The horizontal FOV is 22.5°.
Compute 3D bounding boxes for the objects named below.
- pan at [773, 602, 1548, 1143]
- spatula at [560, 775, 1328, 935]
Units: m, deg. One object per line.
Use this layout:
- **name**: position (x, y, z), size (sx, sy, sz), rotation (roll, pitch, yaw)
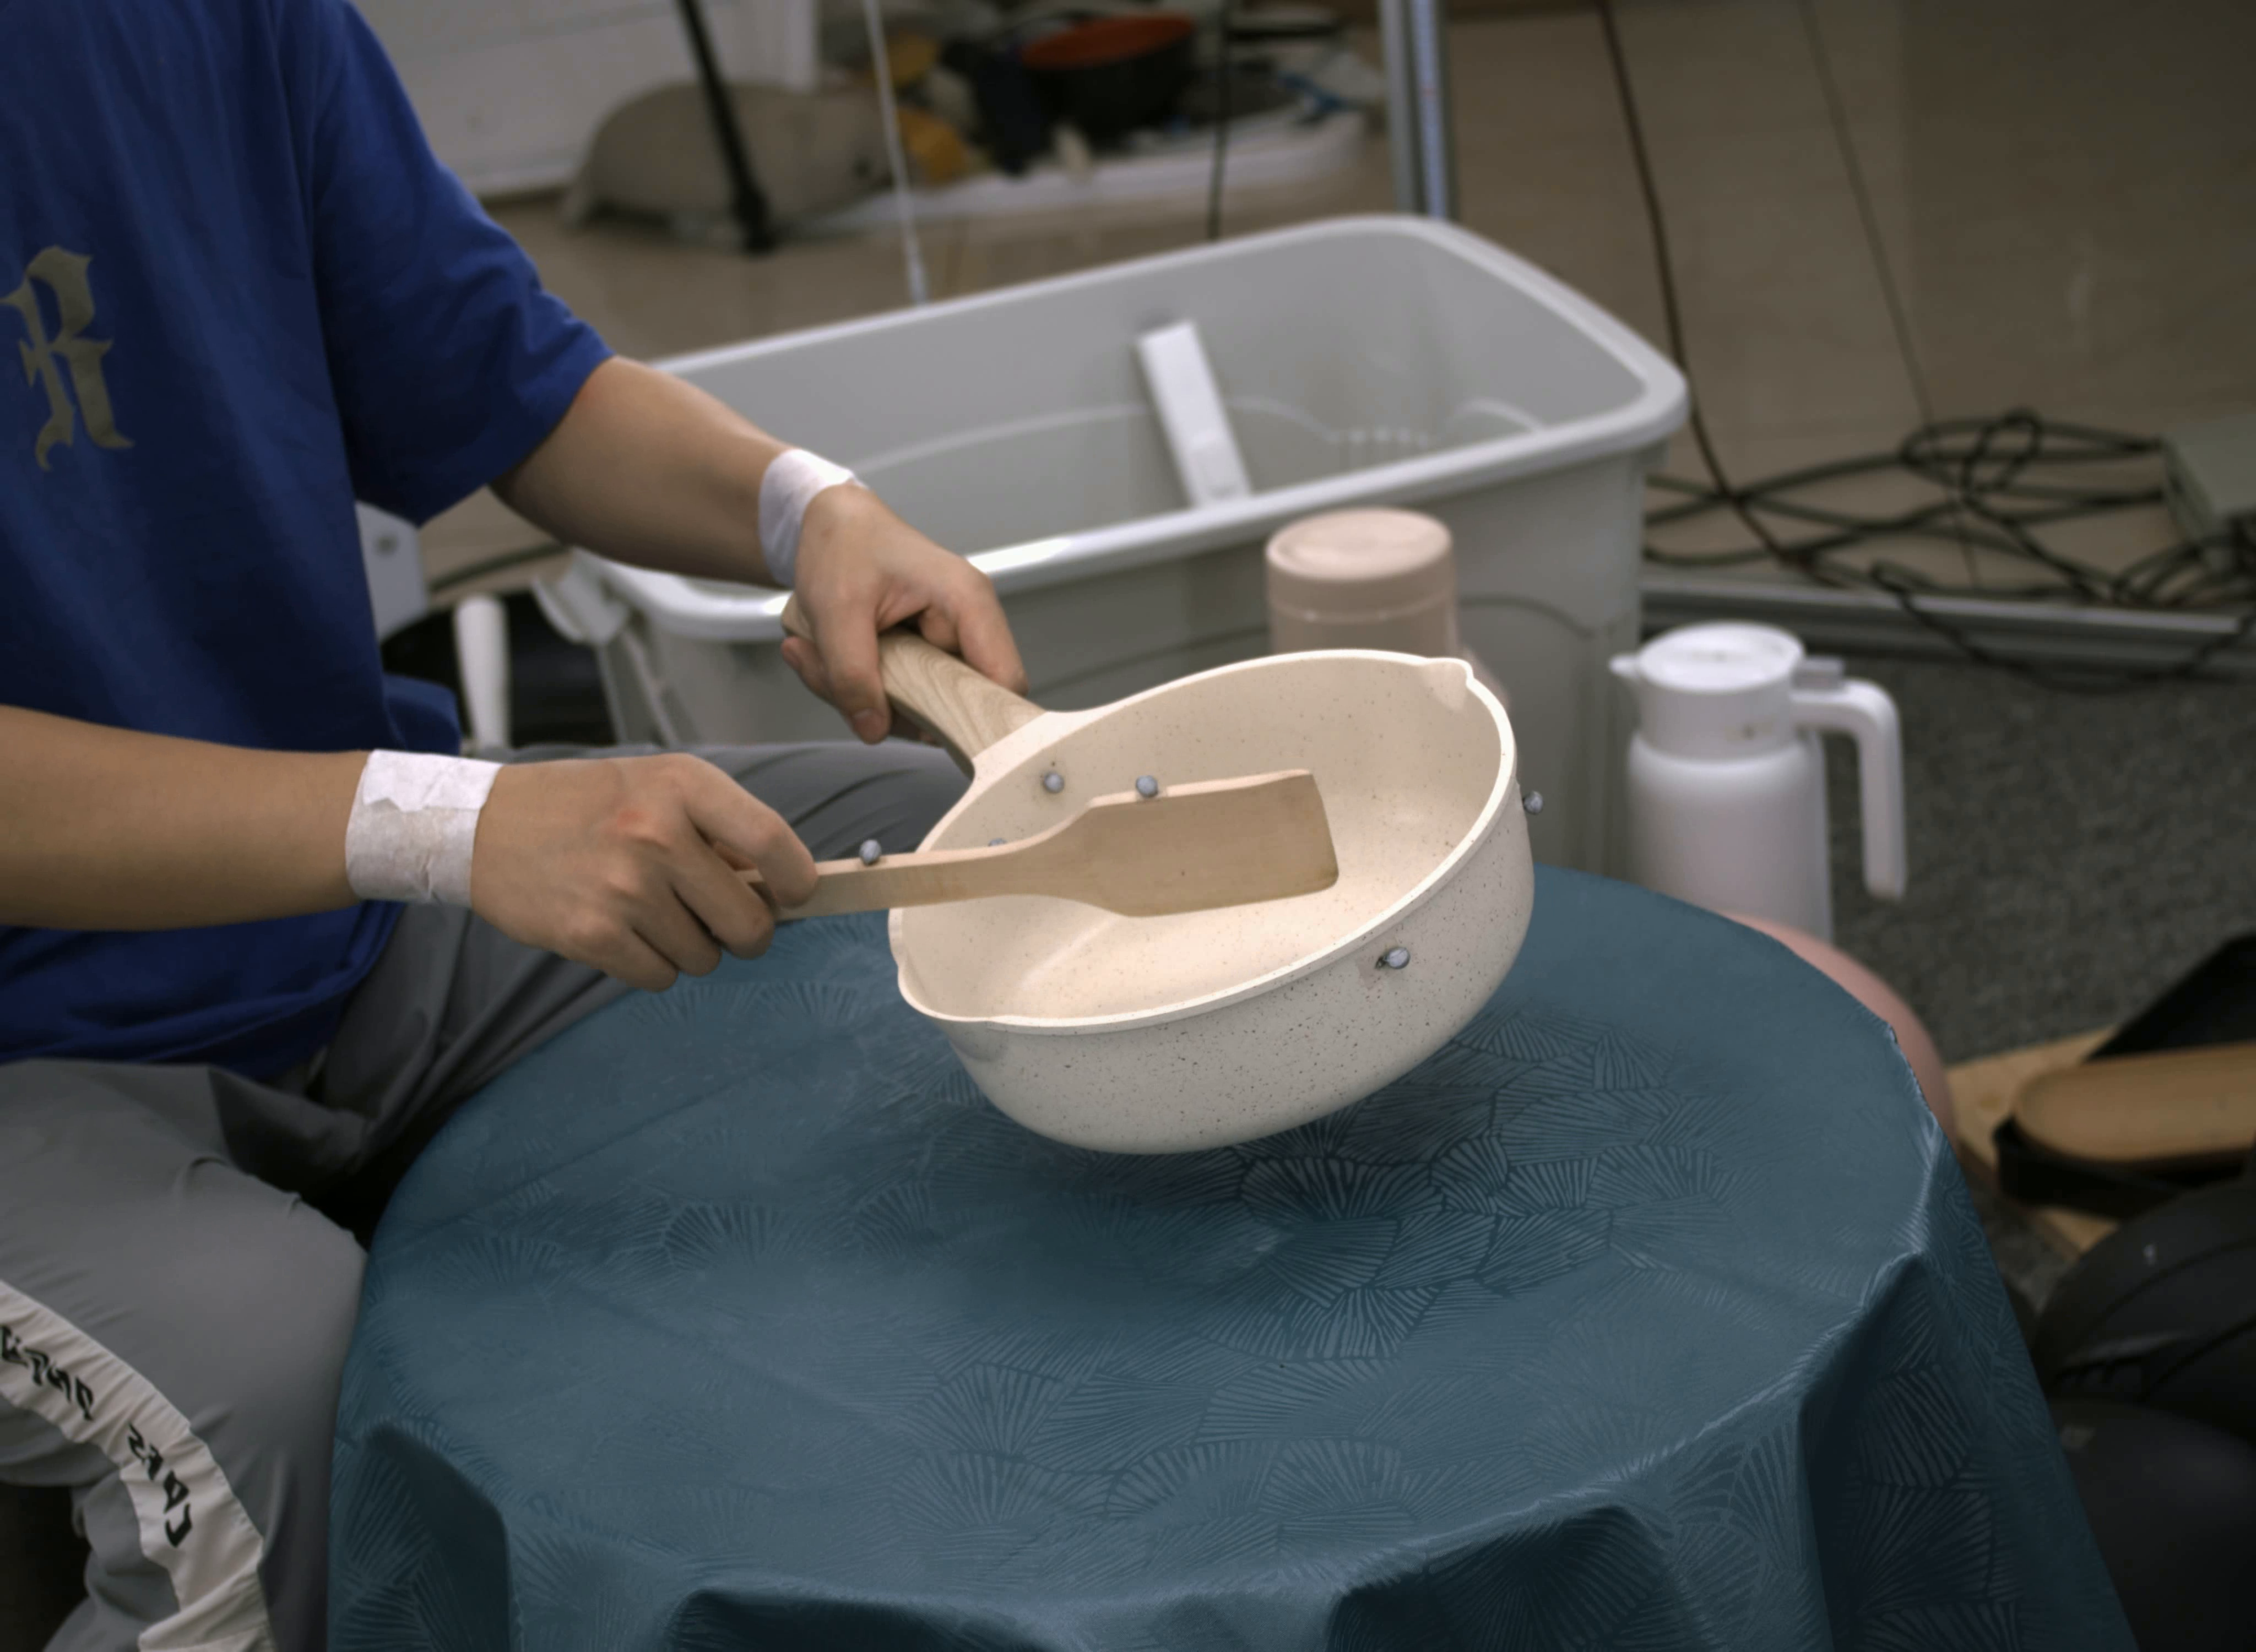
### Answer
- **pan**: position (-0.008, 0.001, 2.238), size (0.261, 0.103, 0.431), rotation (-35, 31, -20)
- **spatula**: position (-0.072, 0.018, 2.140), size (0.292, 0.073, 0.010), rotation (-6, 51, 8)
